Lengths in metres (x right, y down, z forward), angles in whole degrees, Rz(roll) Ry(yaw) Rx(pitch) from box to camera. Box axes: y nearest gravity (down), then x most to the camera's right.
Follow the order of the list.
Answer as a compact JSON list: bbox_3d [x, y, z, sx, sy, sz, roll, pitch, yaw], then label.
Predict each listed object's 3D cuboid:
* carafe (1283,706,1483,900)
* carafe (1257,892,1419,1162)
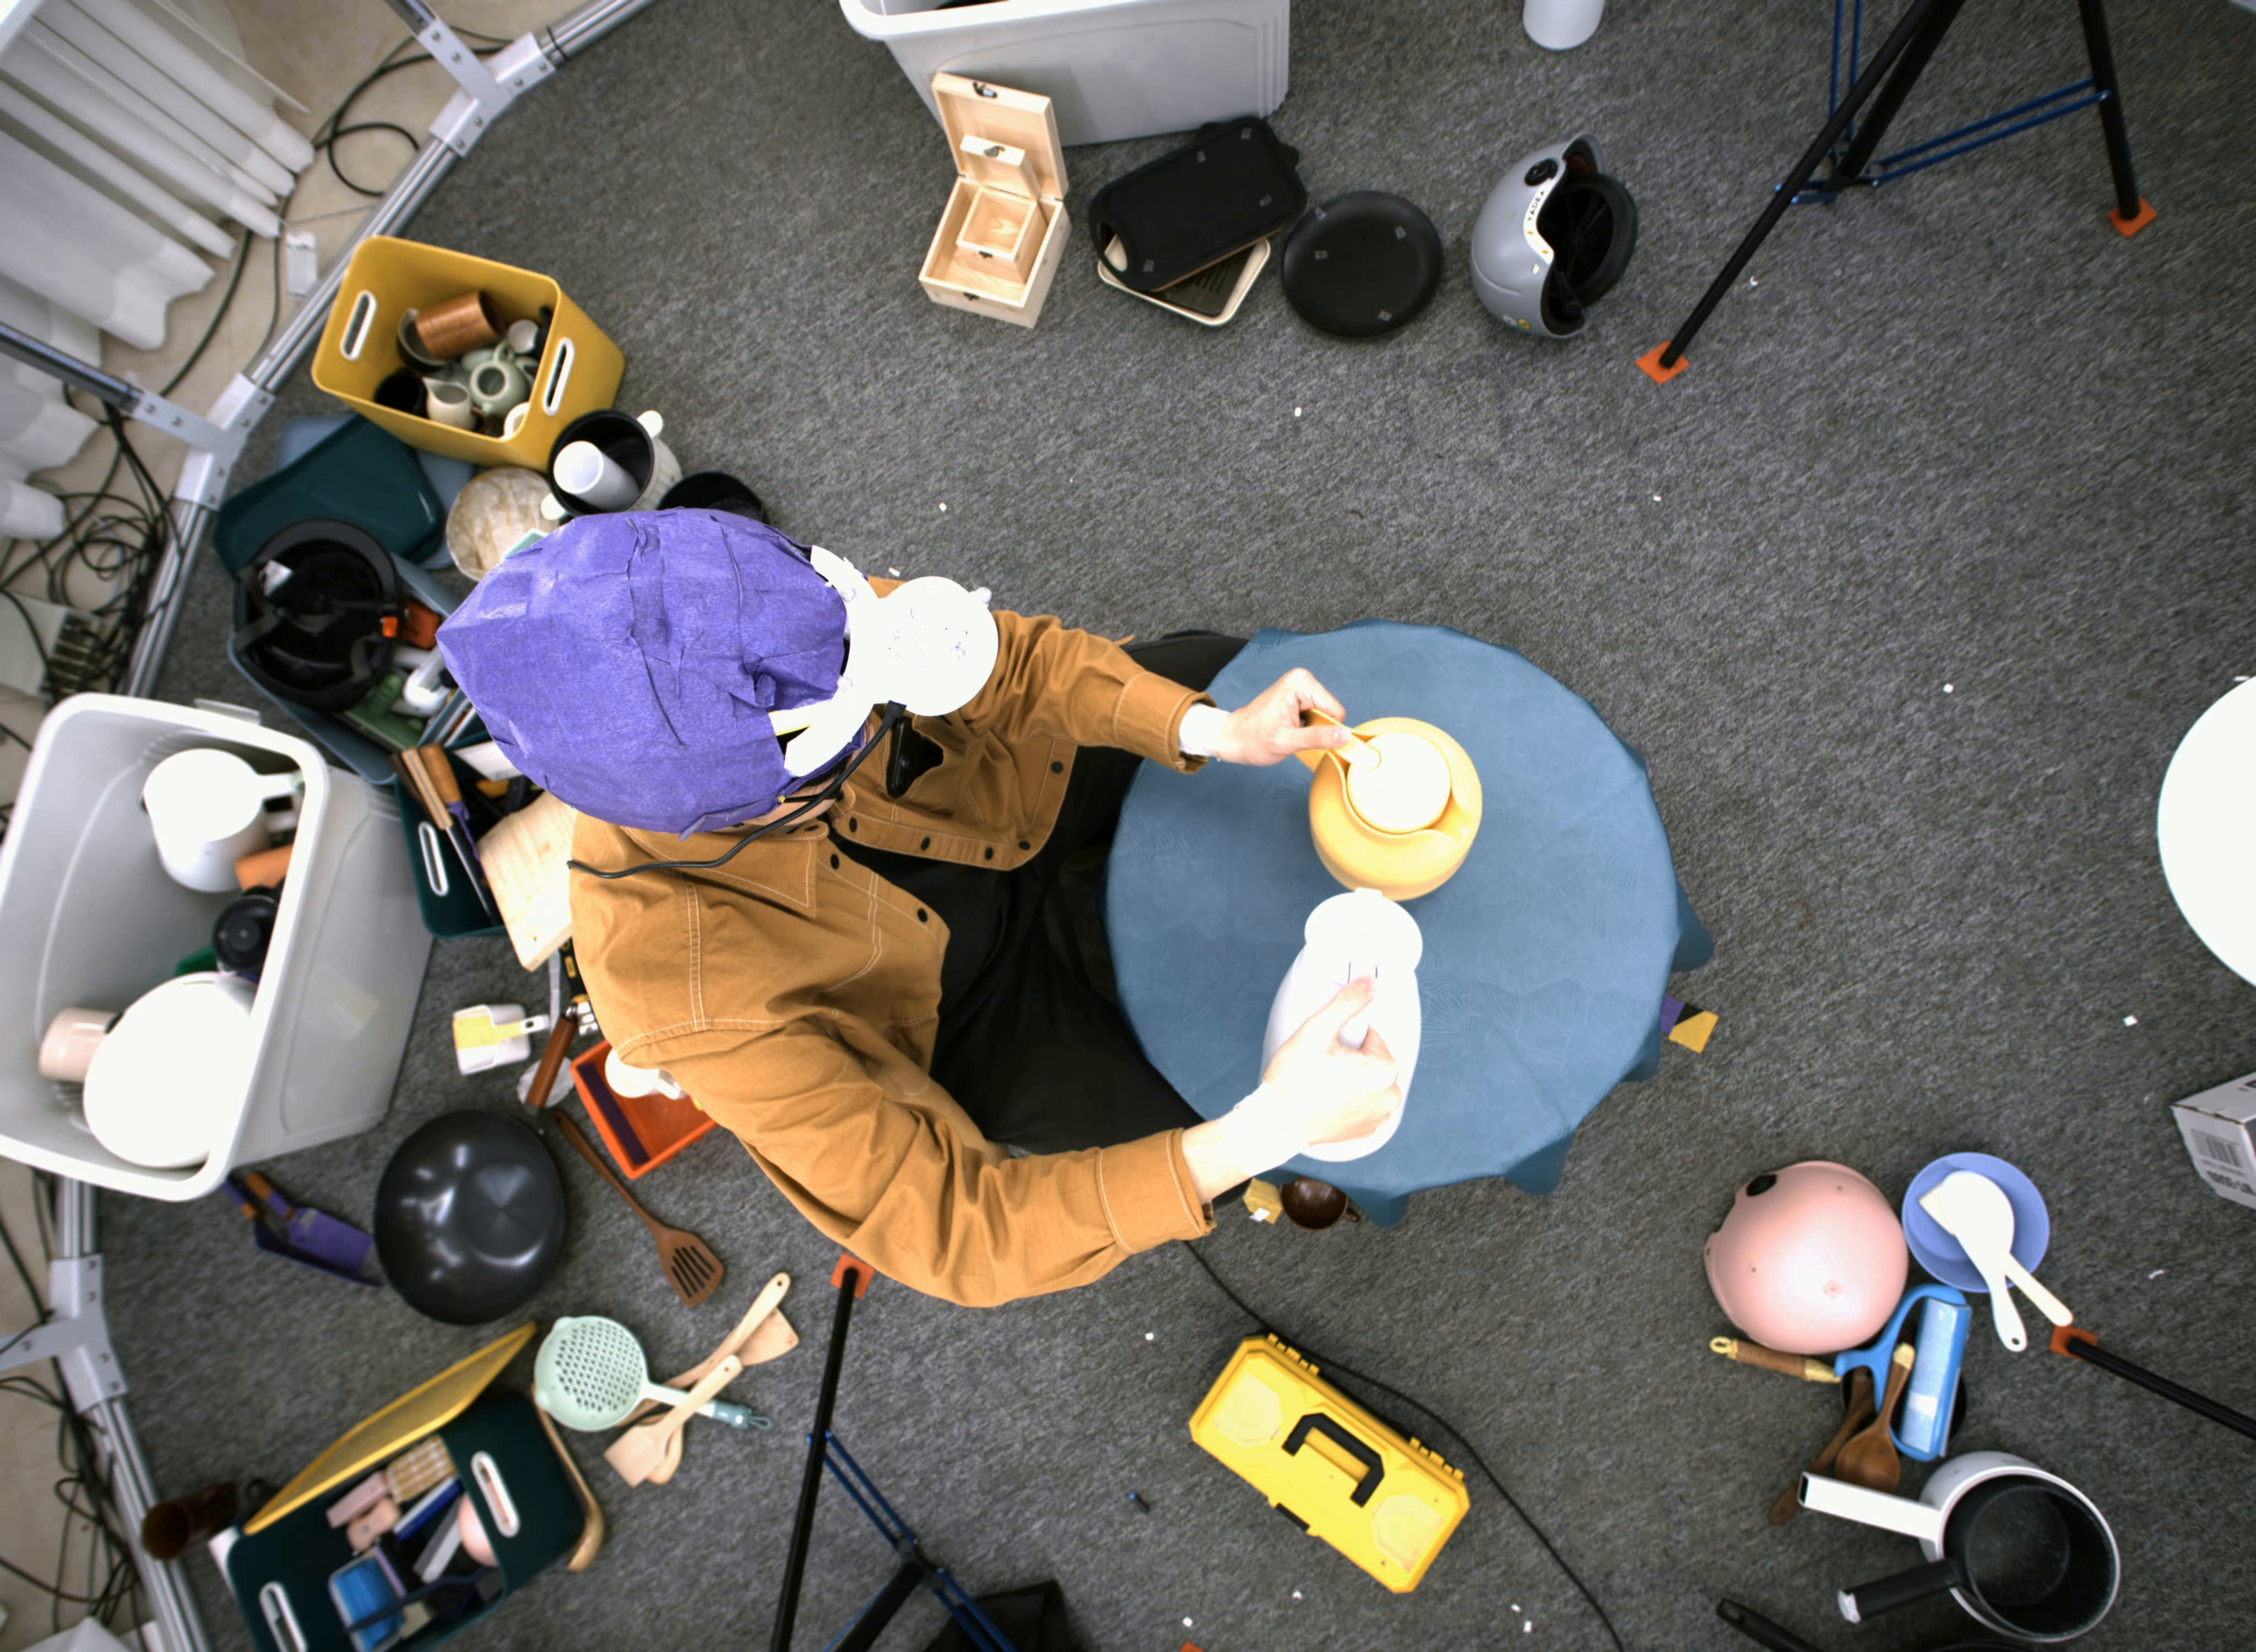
[{"bbox_3d":[0.237,-0.033,1.303,0.201,0.261,0.163,38,88,11],"label":"carafe"},{"bbox_3d":[0.179,0.181,1.155,0.133,0.255,0.163,9,52,8],"label":"carafe"}]
